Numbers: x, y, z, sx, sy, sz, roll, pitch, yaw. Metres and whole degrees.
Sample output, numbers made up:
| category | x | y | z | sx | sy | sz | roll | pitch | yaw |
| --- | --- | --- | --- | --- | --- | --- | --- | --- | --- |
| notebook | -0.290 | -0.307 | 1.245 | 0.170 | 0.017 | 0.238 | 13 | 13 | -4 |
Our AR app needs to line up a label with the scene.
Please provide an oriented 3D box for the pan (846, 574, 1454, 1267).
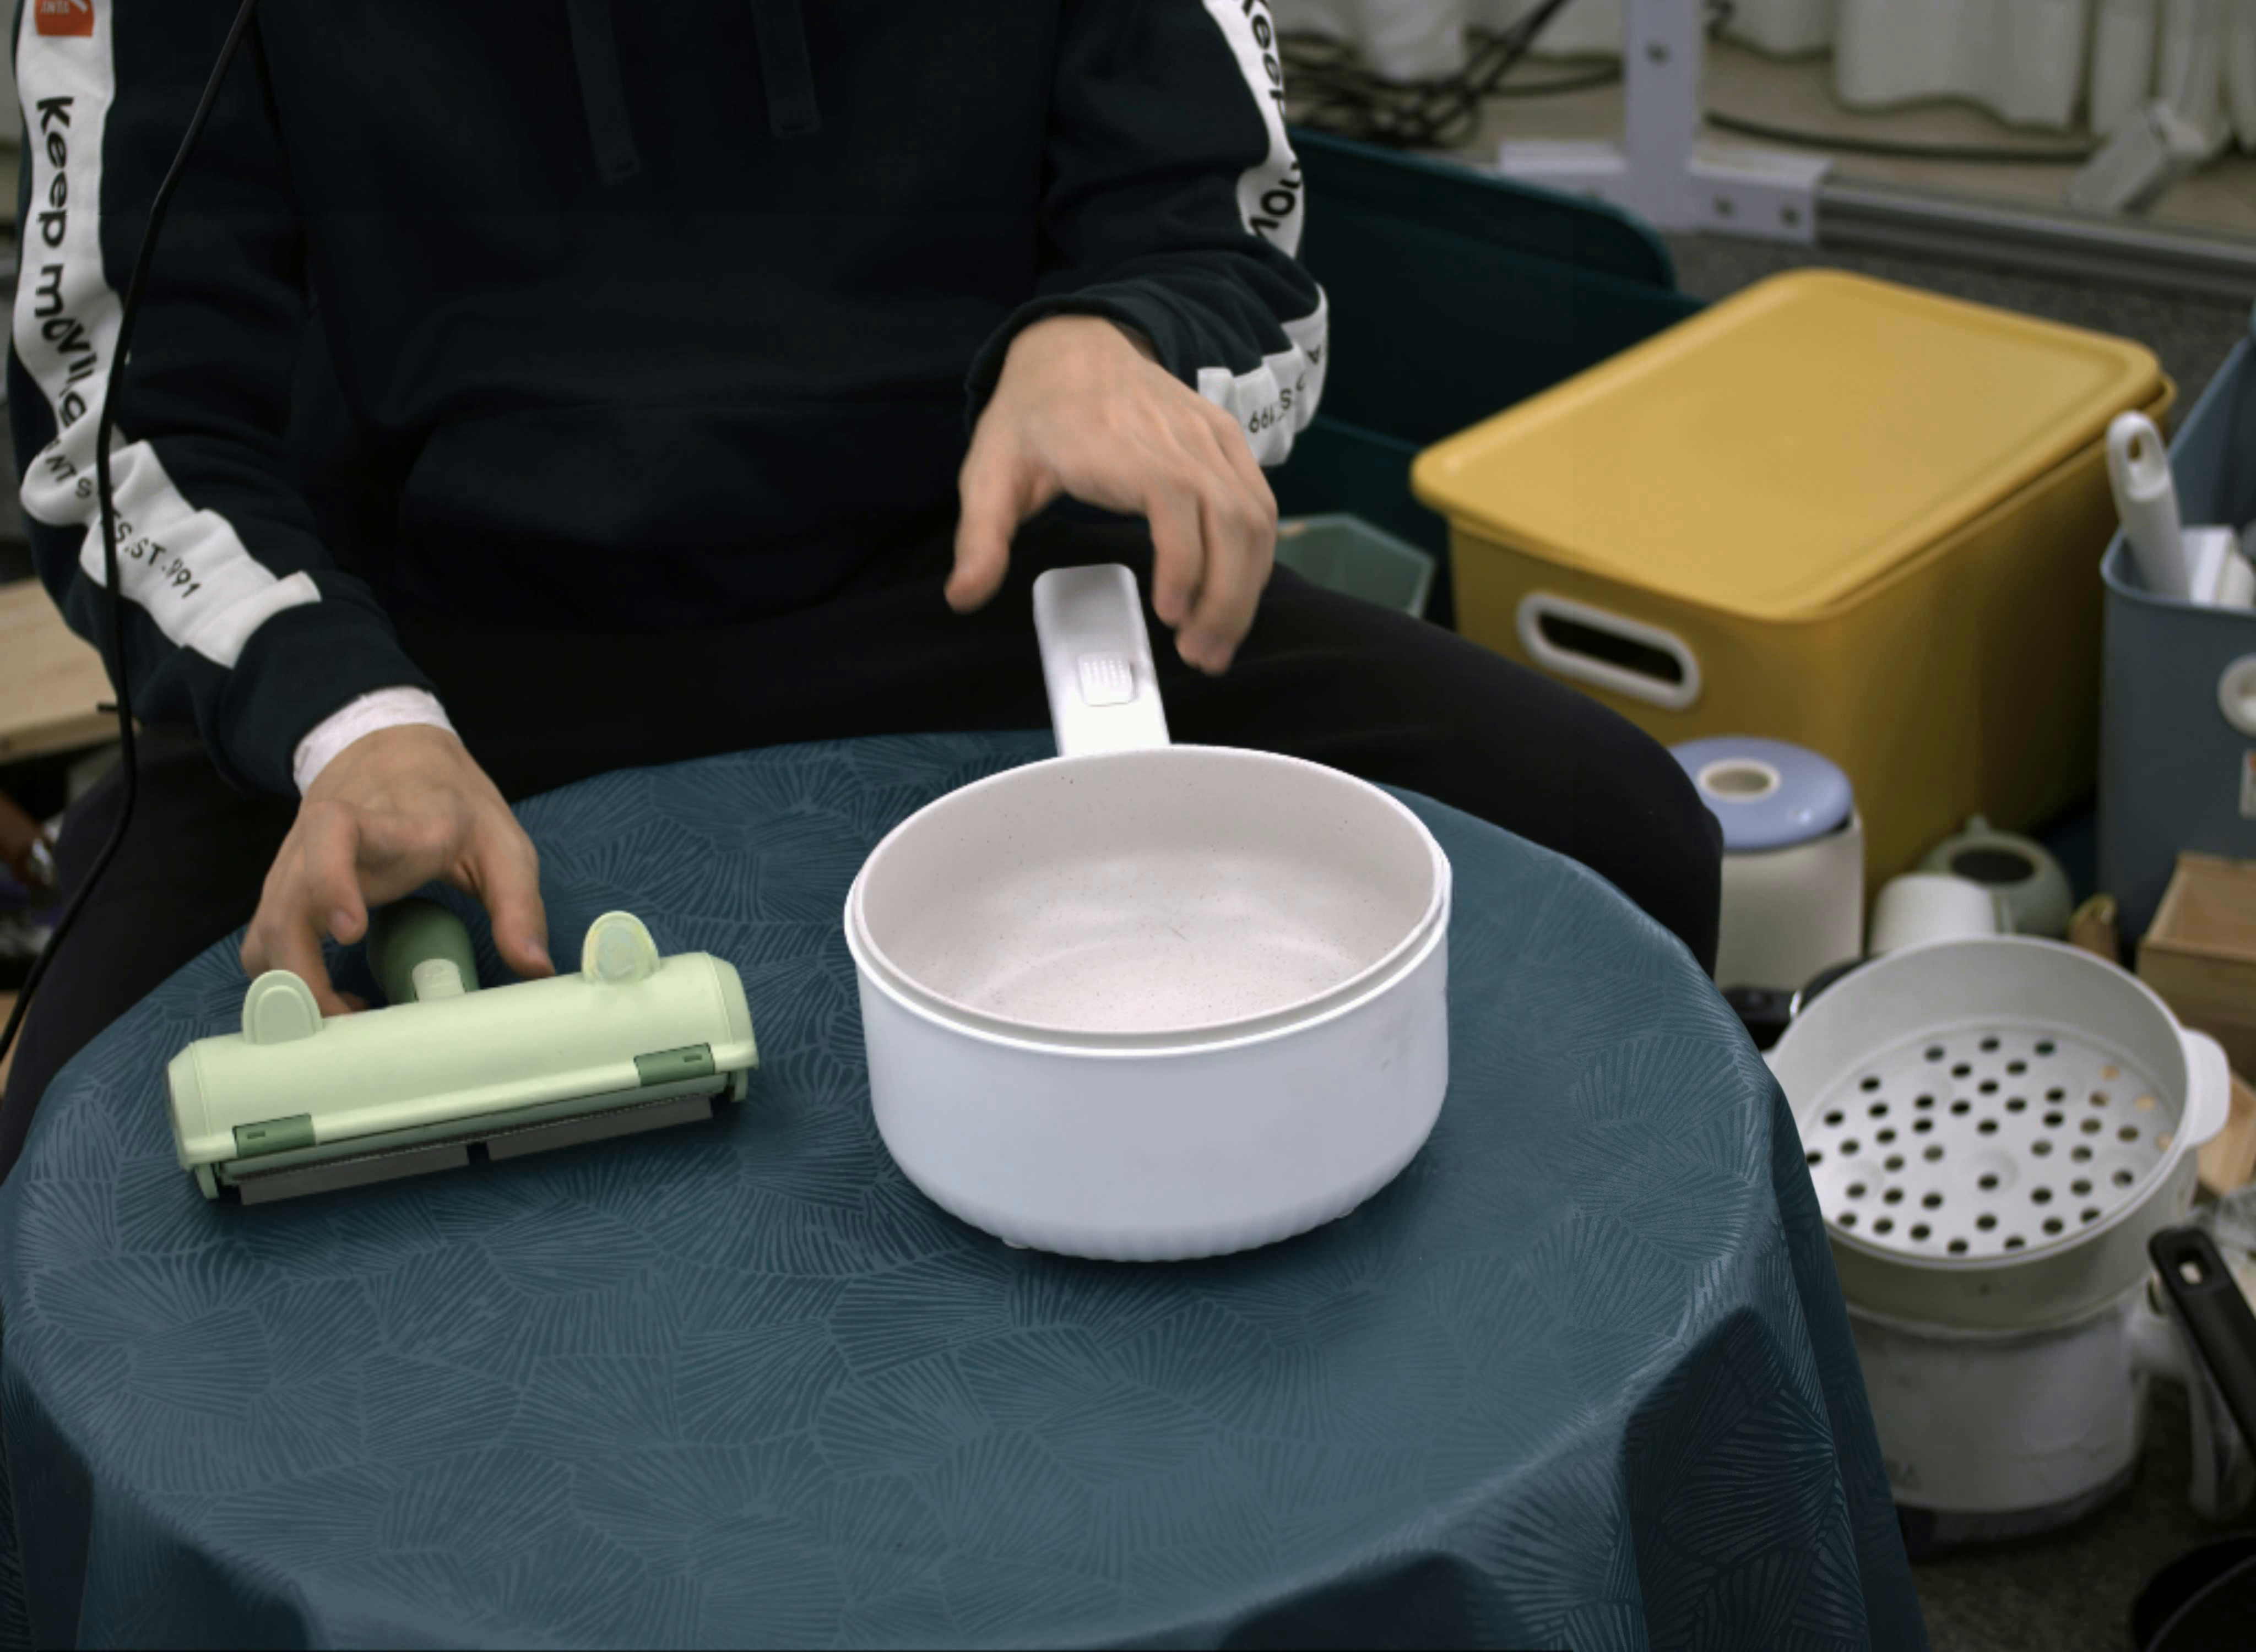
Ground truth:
| category | x | y | z | sx | sy | sz | roll | pitch | yaw |
| --- | --- | --- | --- | --- | --- | --- | --- | --- | --- |
| pan | 0.004 | 0.030 | 1.934 | 0.200 | 0.101 | 0.359 | -6 | 27 | -3 |

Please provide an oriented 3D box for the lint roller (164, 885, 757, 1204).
| category | x | y | z | sx | sy | sz | roll | pitch | yaw |
| --- | --- | --- | --- | --- | --- | --- | --- | --- | --- |
| lint roller | -0.240 | 0.050 | 1.939 | 0.198 | 0.081 | 0.185 | -10 | 34 | -12 |
